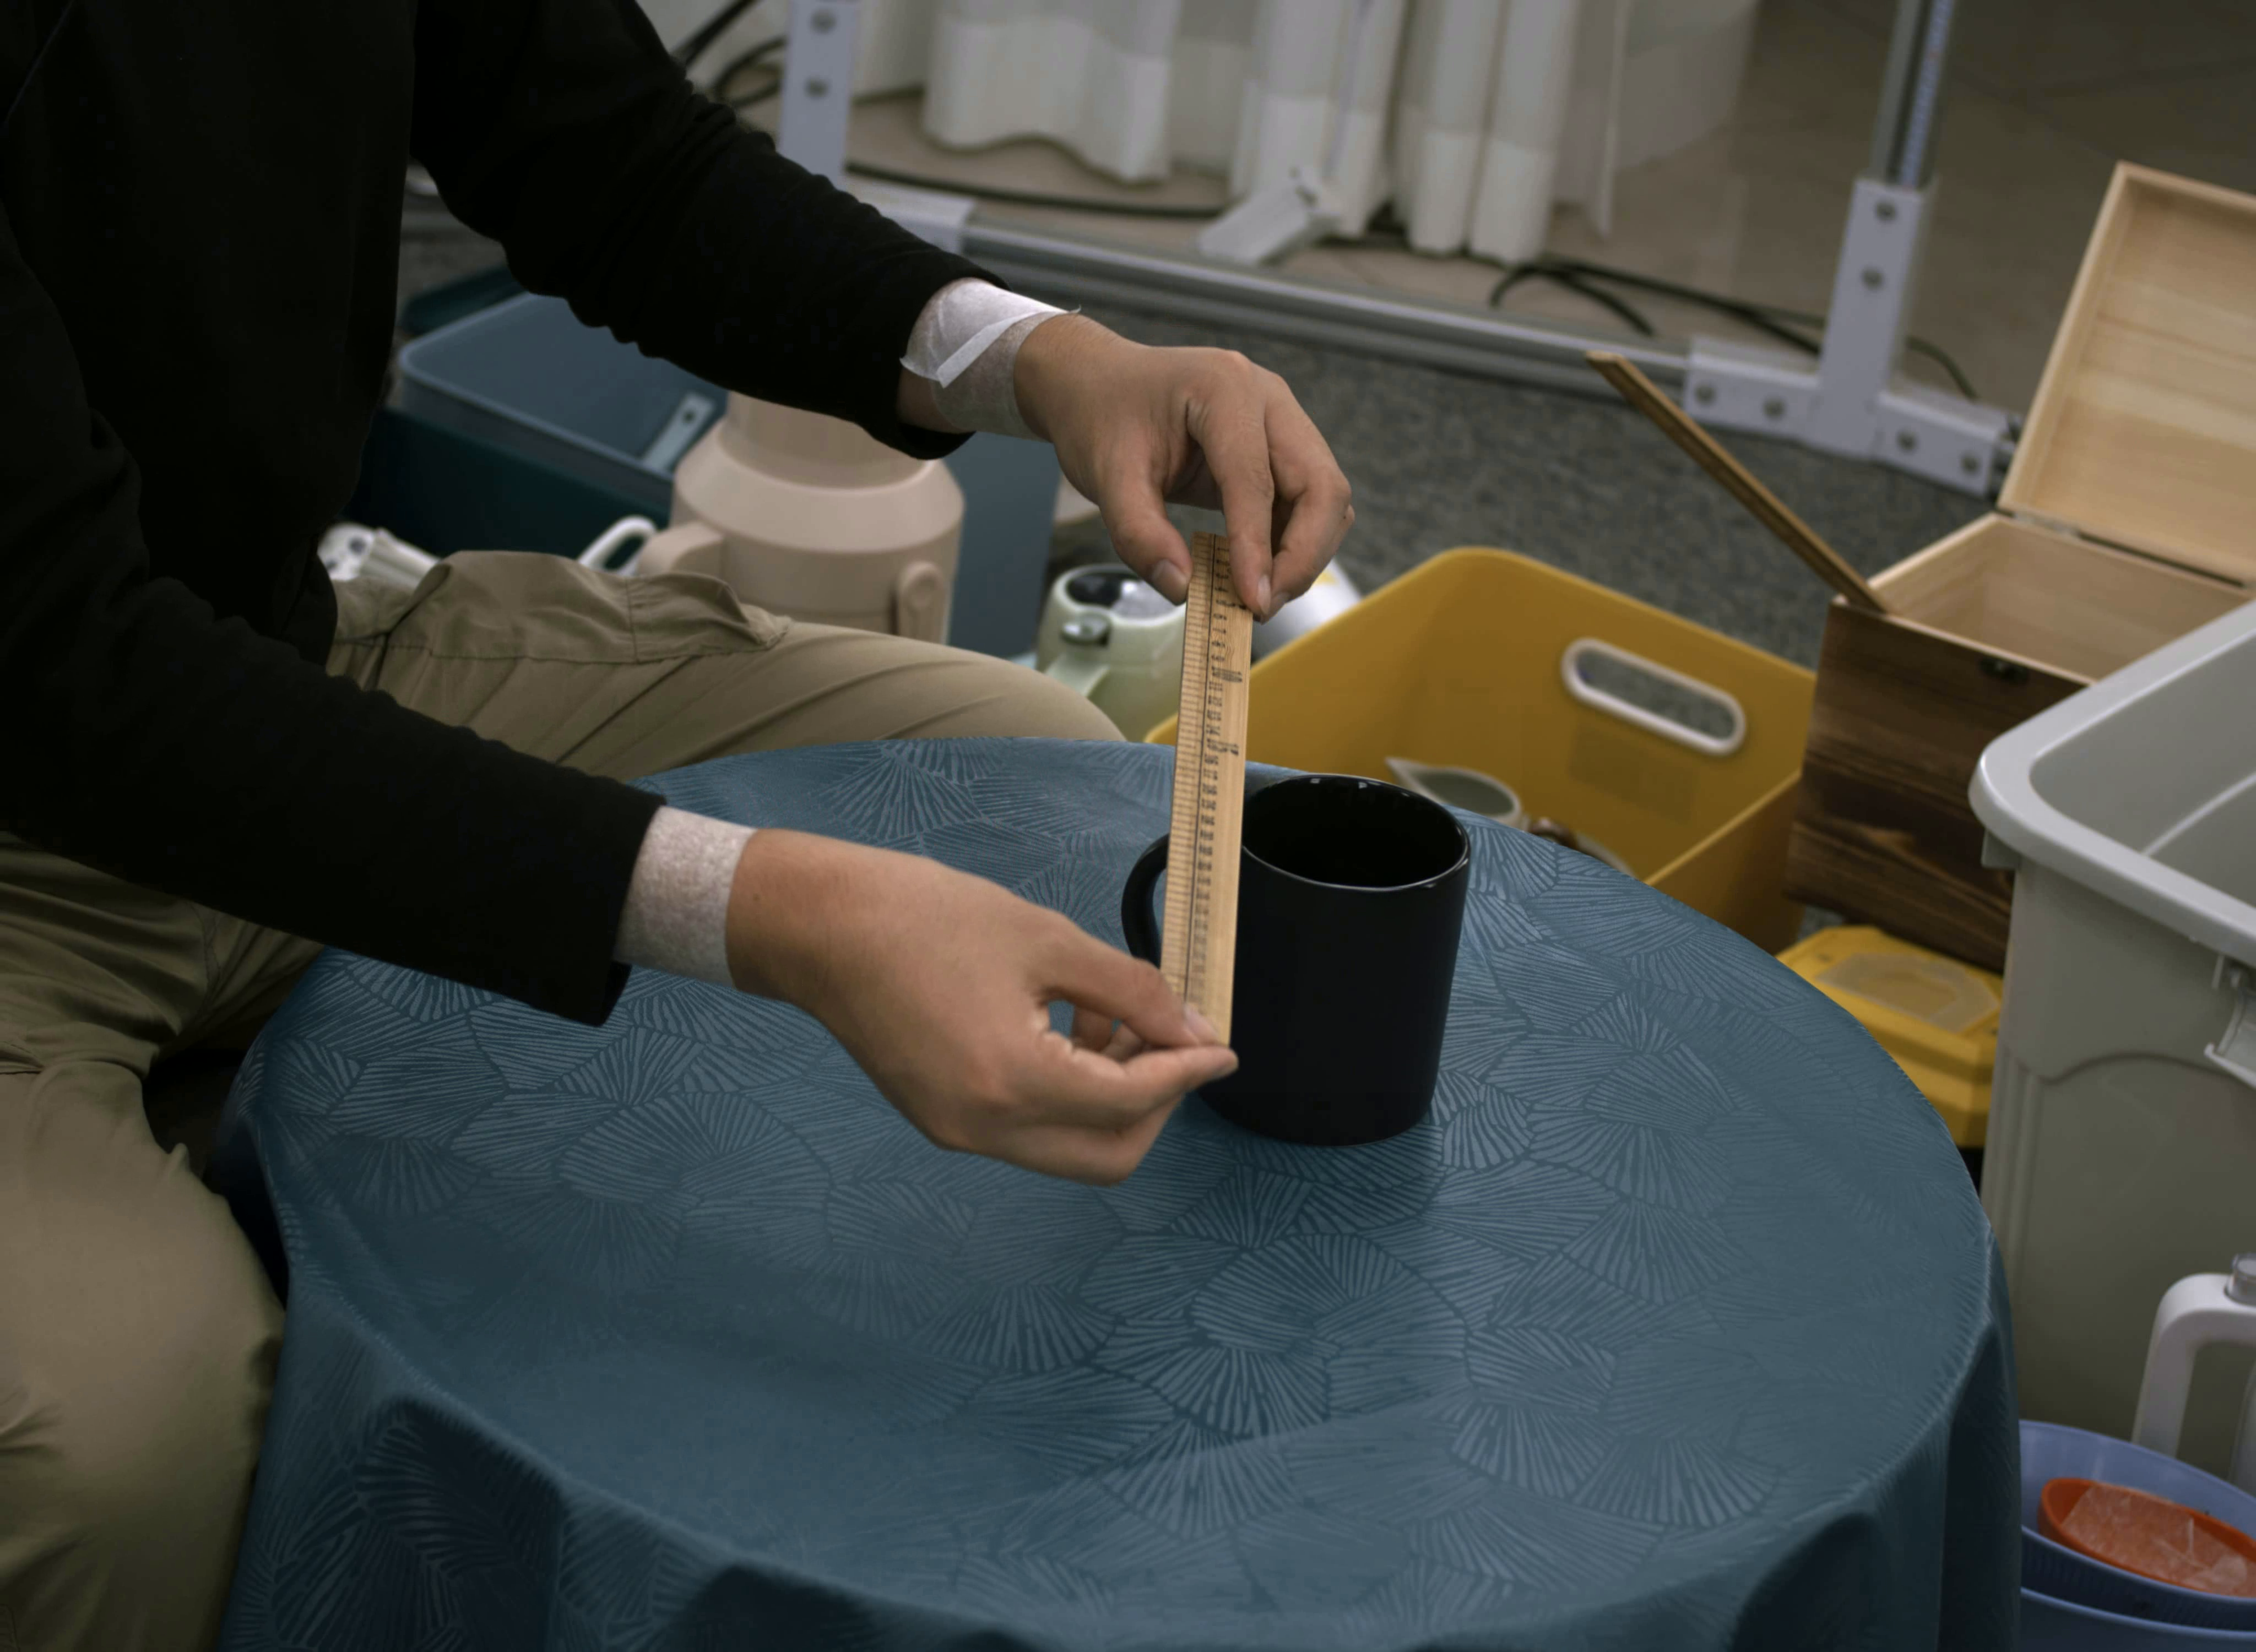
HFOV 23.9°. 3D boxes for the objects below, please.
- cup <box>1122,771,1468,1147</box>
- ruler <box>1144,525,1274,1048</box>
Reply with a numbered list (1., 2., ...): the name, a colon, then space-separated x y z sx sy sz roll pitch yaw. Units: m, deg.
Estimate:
1. cup: 0.054 0.041 1.863 0.124 0.105 0.088 20 31 23
2. ruler: 0.030 -0.023 1.833 0.027 0.022 0.334 17 31 -5
